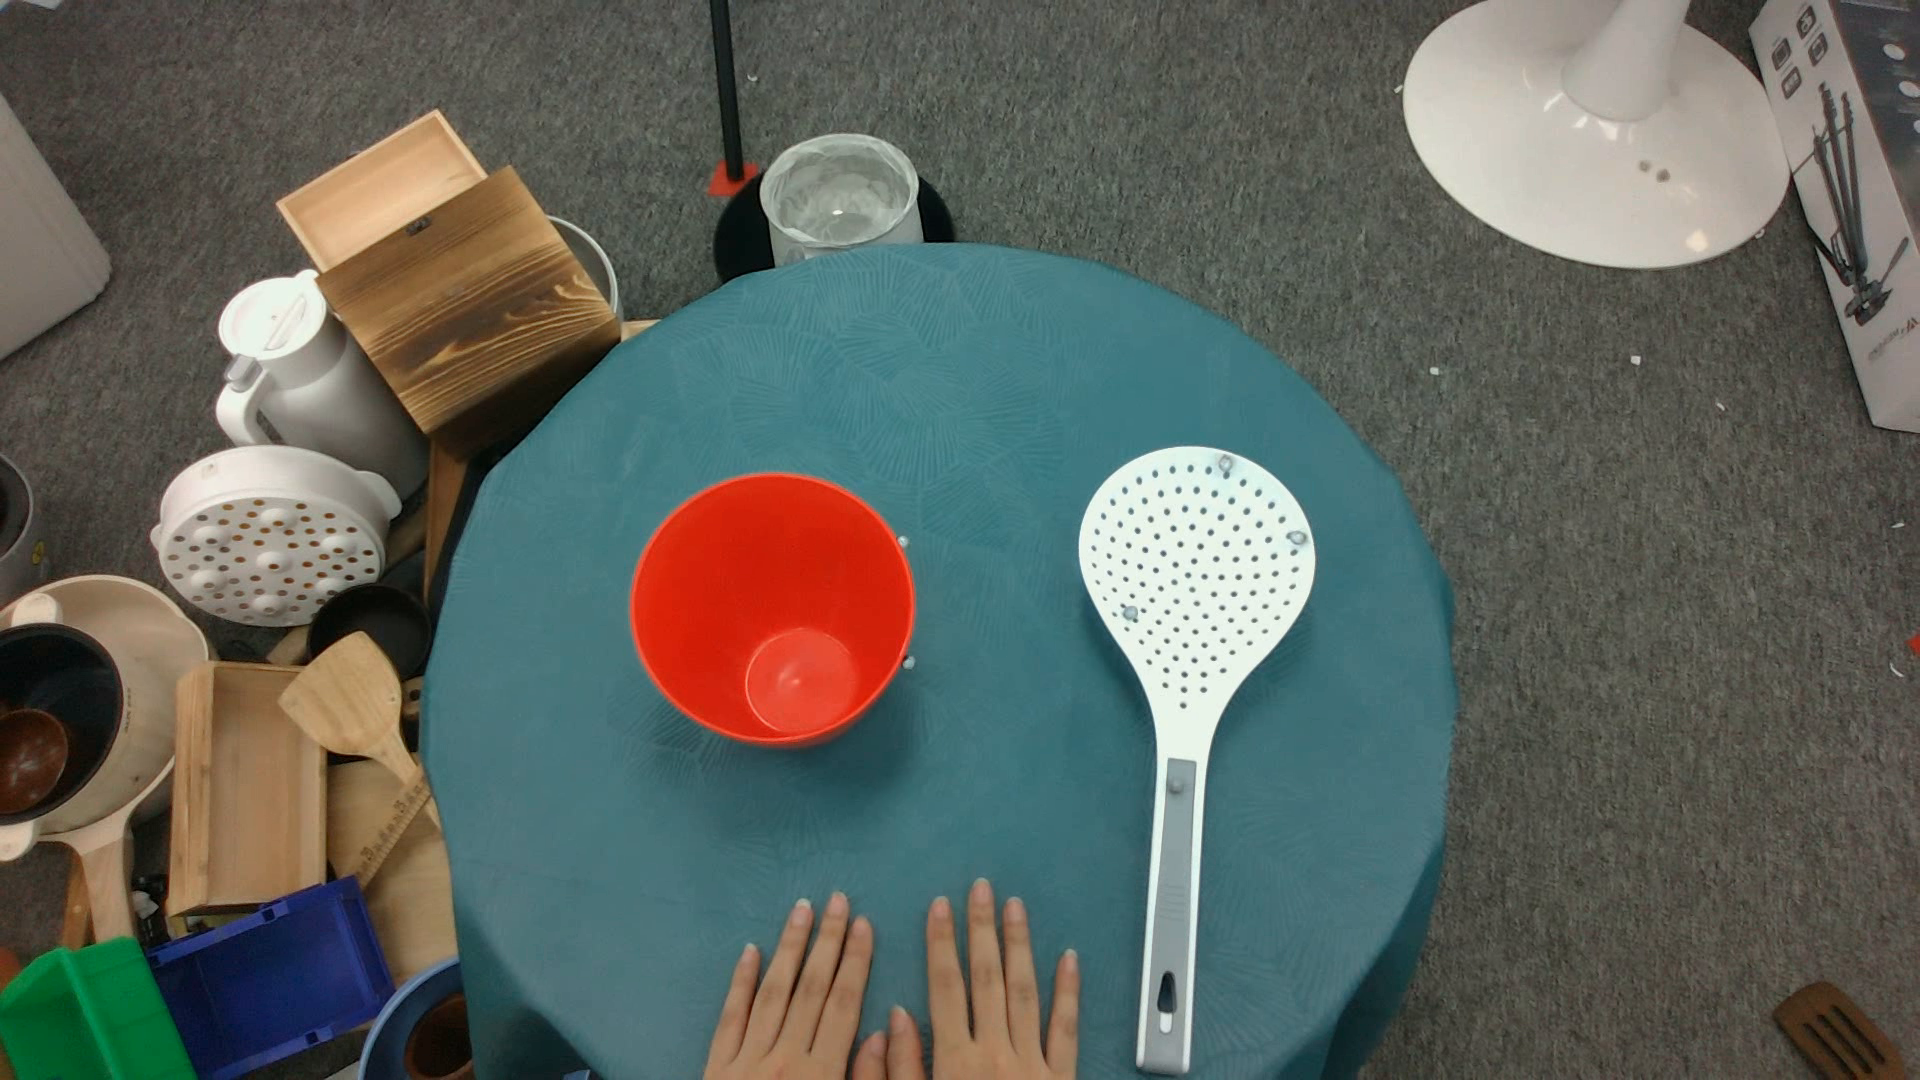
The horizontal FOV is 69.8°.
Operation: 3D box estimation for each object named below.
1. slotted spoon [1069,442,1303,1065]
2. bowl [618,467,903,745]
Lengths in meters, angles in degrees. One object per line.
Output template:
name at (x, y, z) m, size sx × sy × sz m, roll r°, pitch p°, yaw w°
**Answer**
slotted spoon at (0.116, 0.104, 0.762) m, size 0.136 × 0.045 × 0.351 m, roll 7°, pitch 61°, yaw 4°
bowl at (-0.105, 0.048, 0.757) m, size 0.148 × 0.104 × 0.148 m, roll 1°, pitch 61°, yaw -3°
